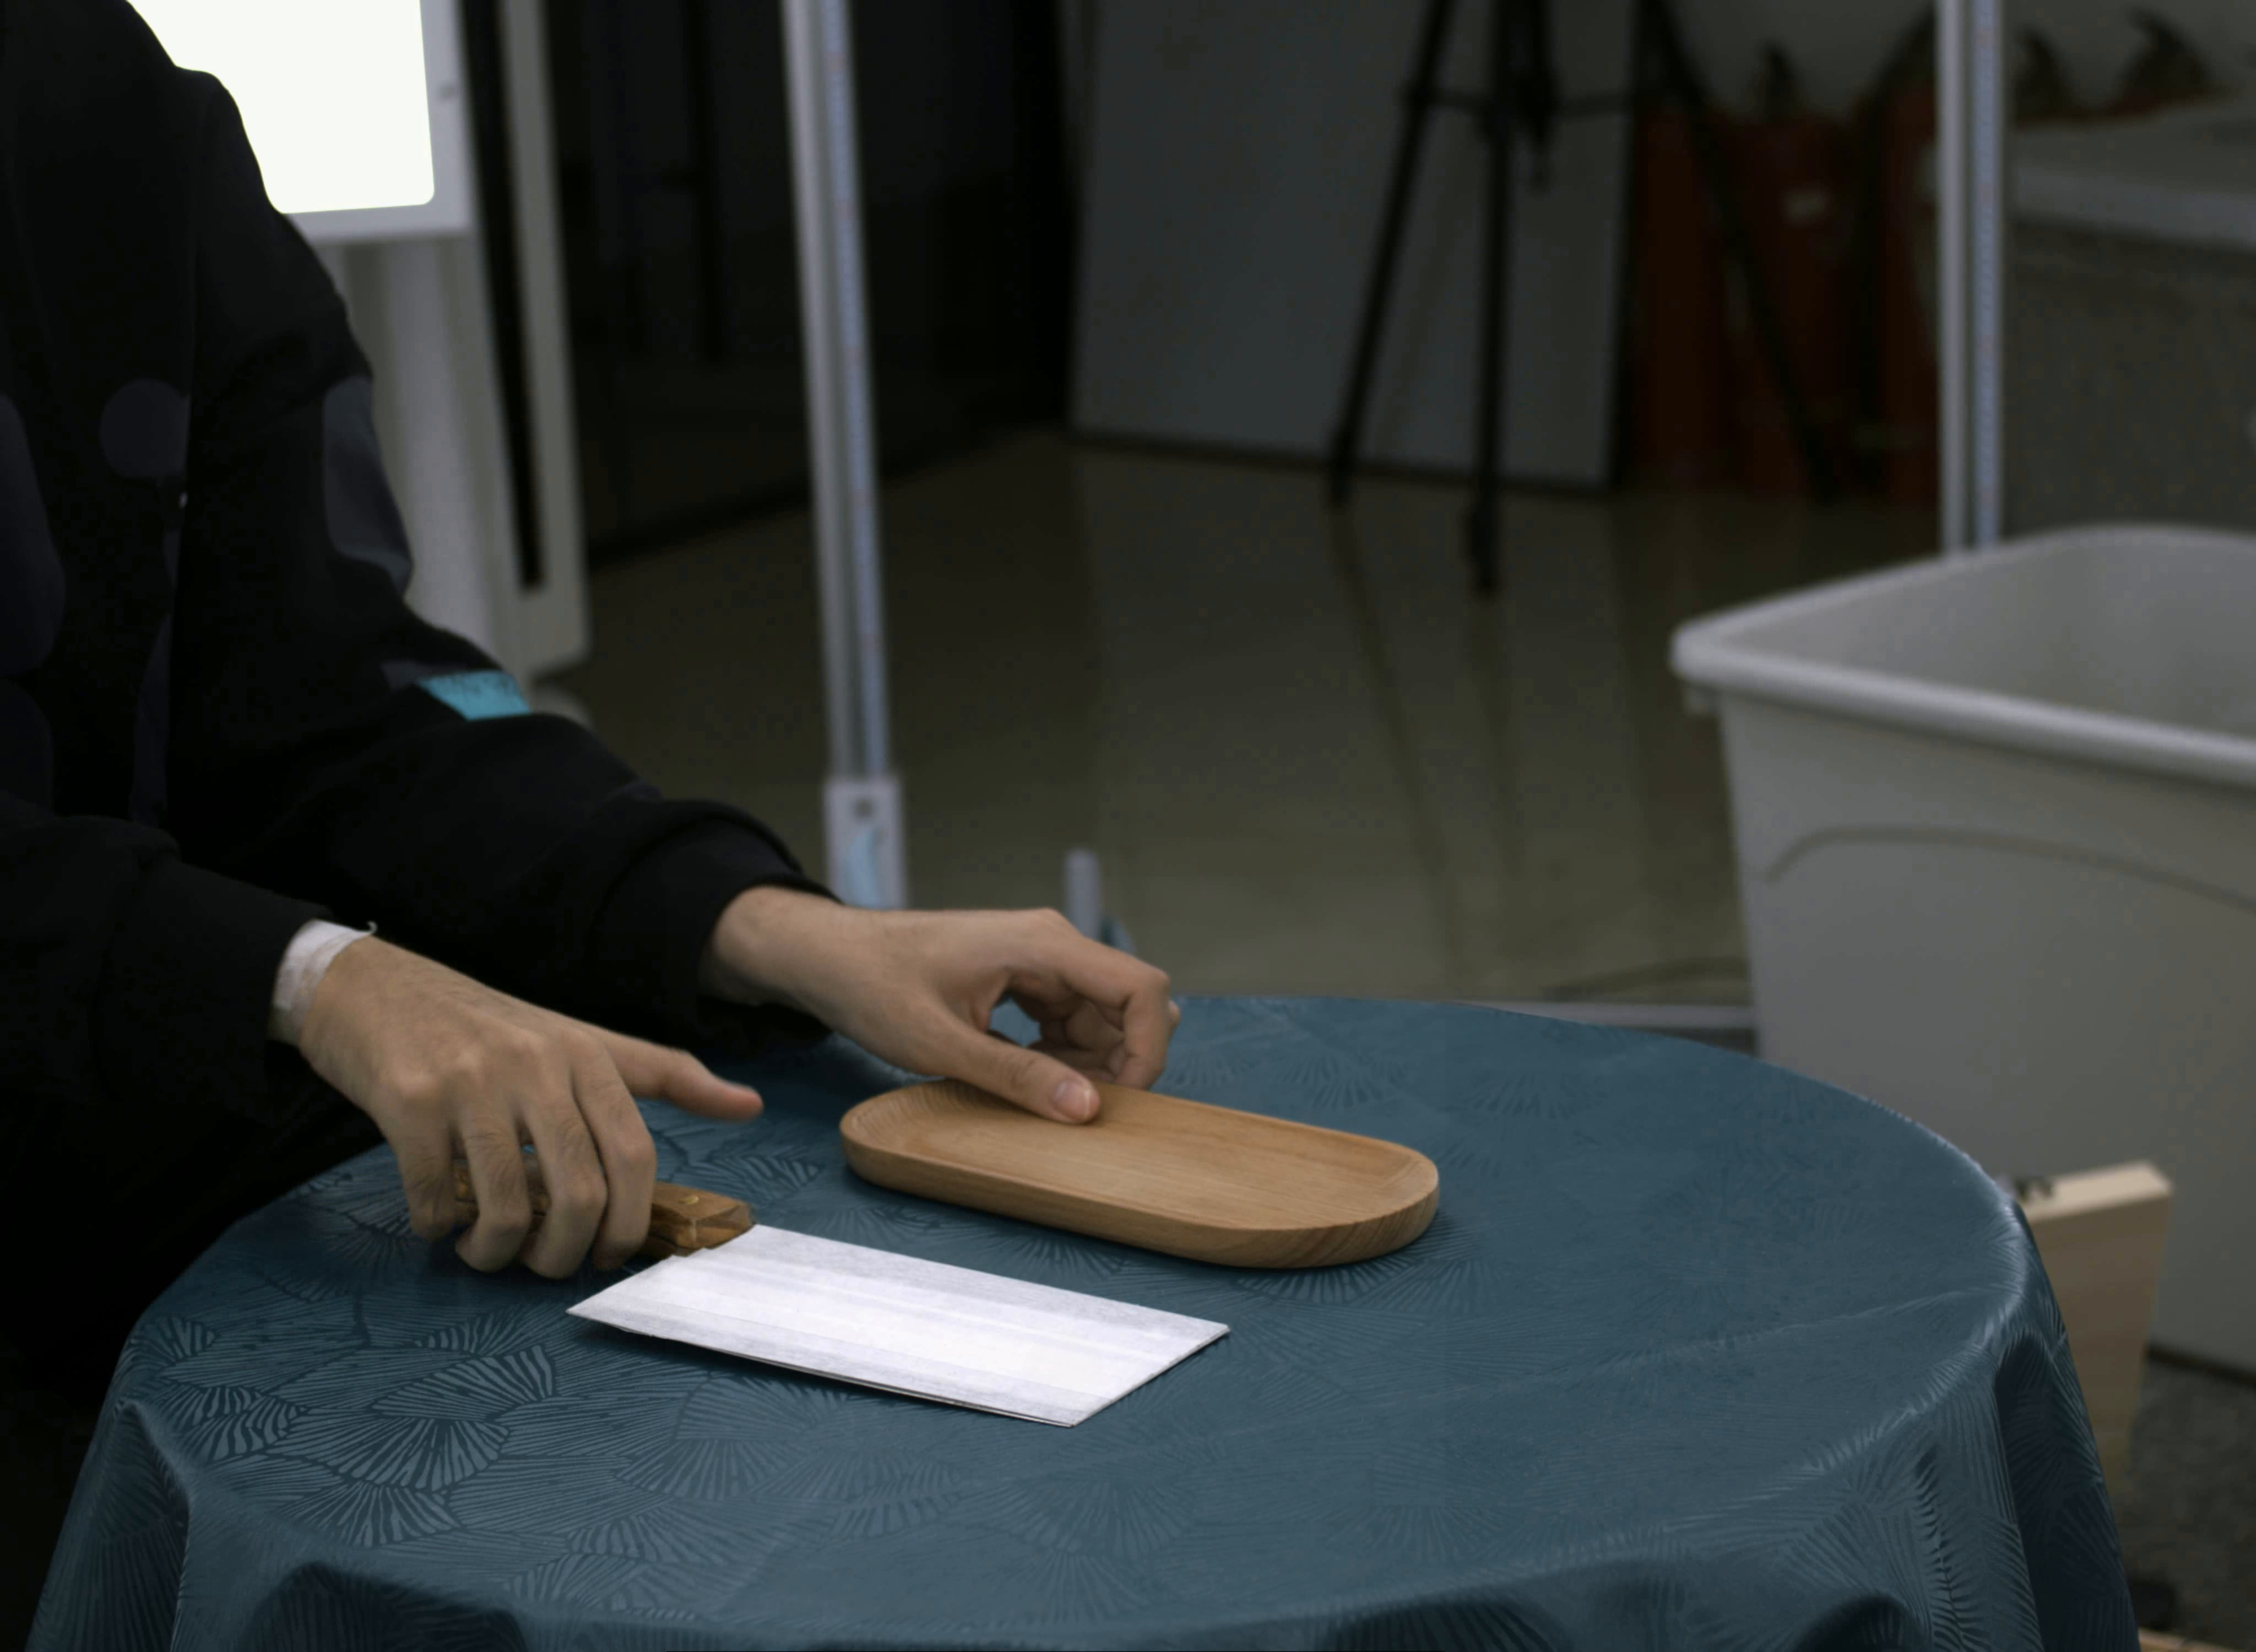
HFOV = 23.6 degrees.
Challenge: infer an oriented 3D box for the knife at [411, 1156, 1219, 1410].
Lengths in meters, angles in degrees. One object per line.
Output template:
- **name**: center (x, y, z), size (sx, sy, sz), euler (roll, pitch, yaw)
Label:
- **knife**: center (-0.117, 0.144, 1.680), size (0.307, 0.021, 0.091), euler (8, 20, 34)

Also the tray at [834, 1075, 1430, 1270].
- **tray**: center (0.000, 0.113, 1.769), size (0.233, 0.020, 0.099), euler (8, 16, 43)
